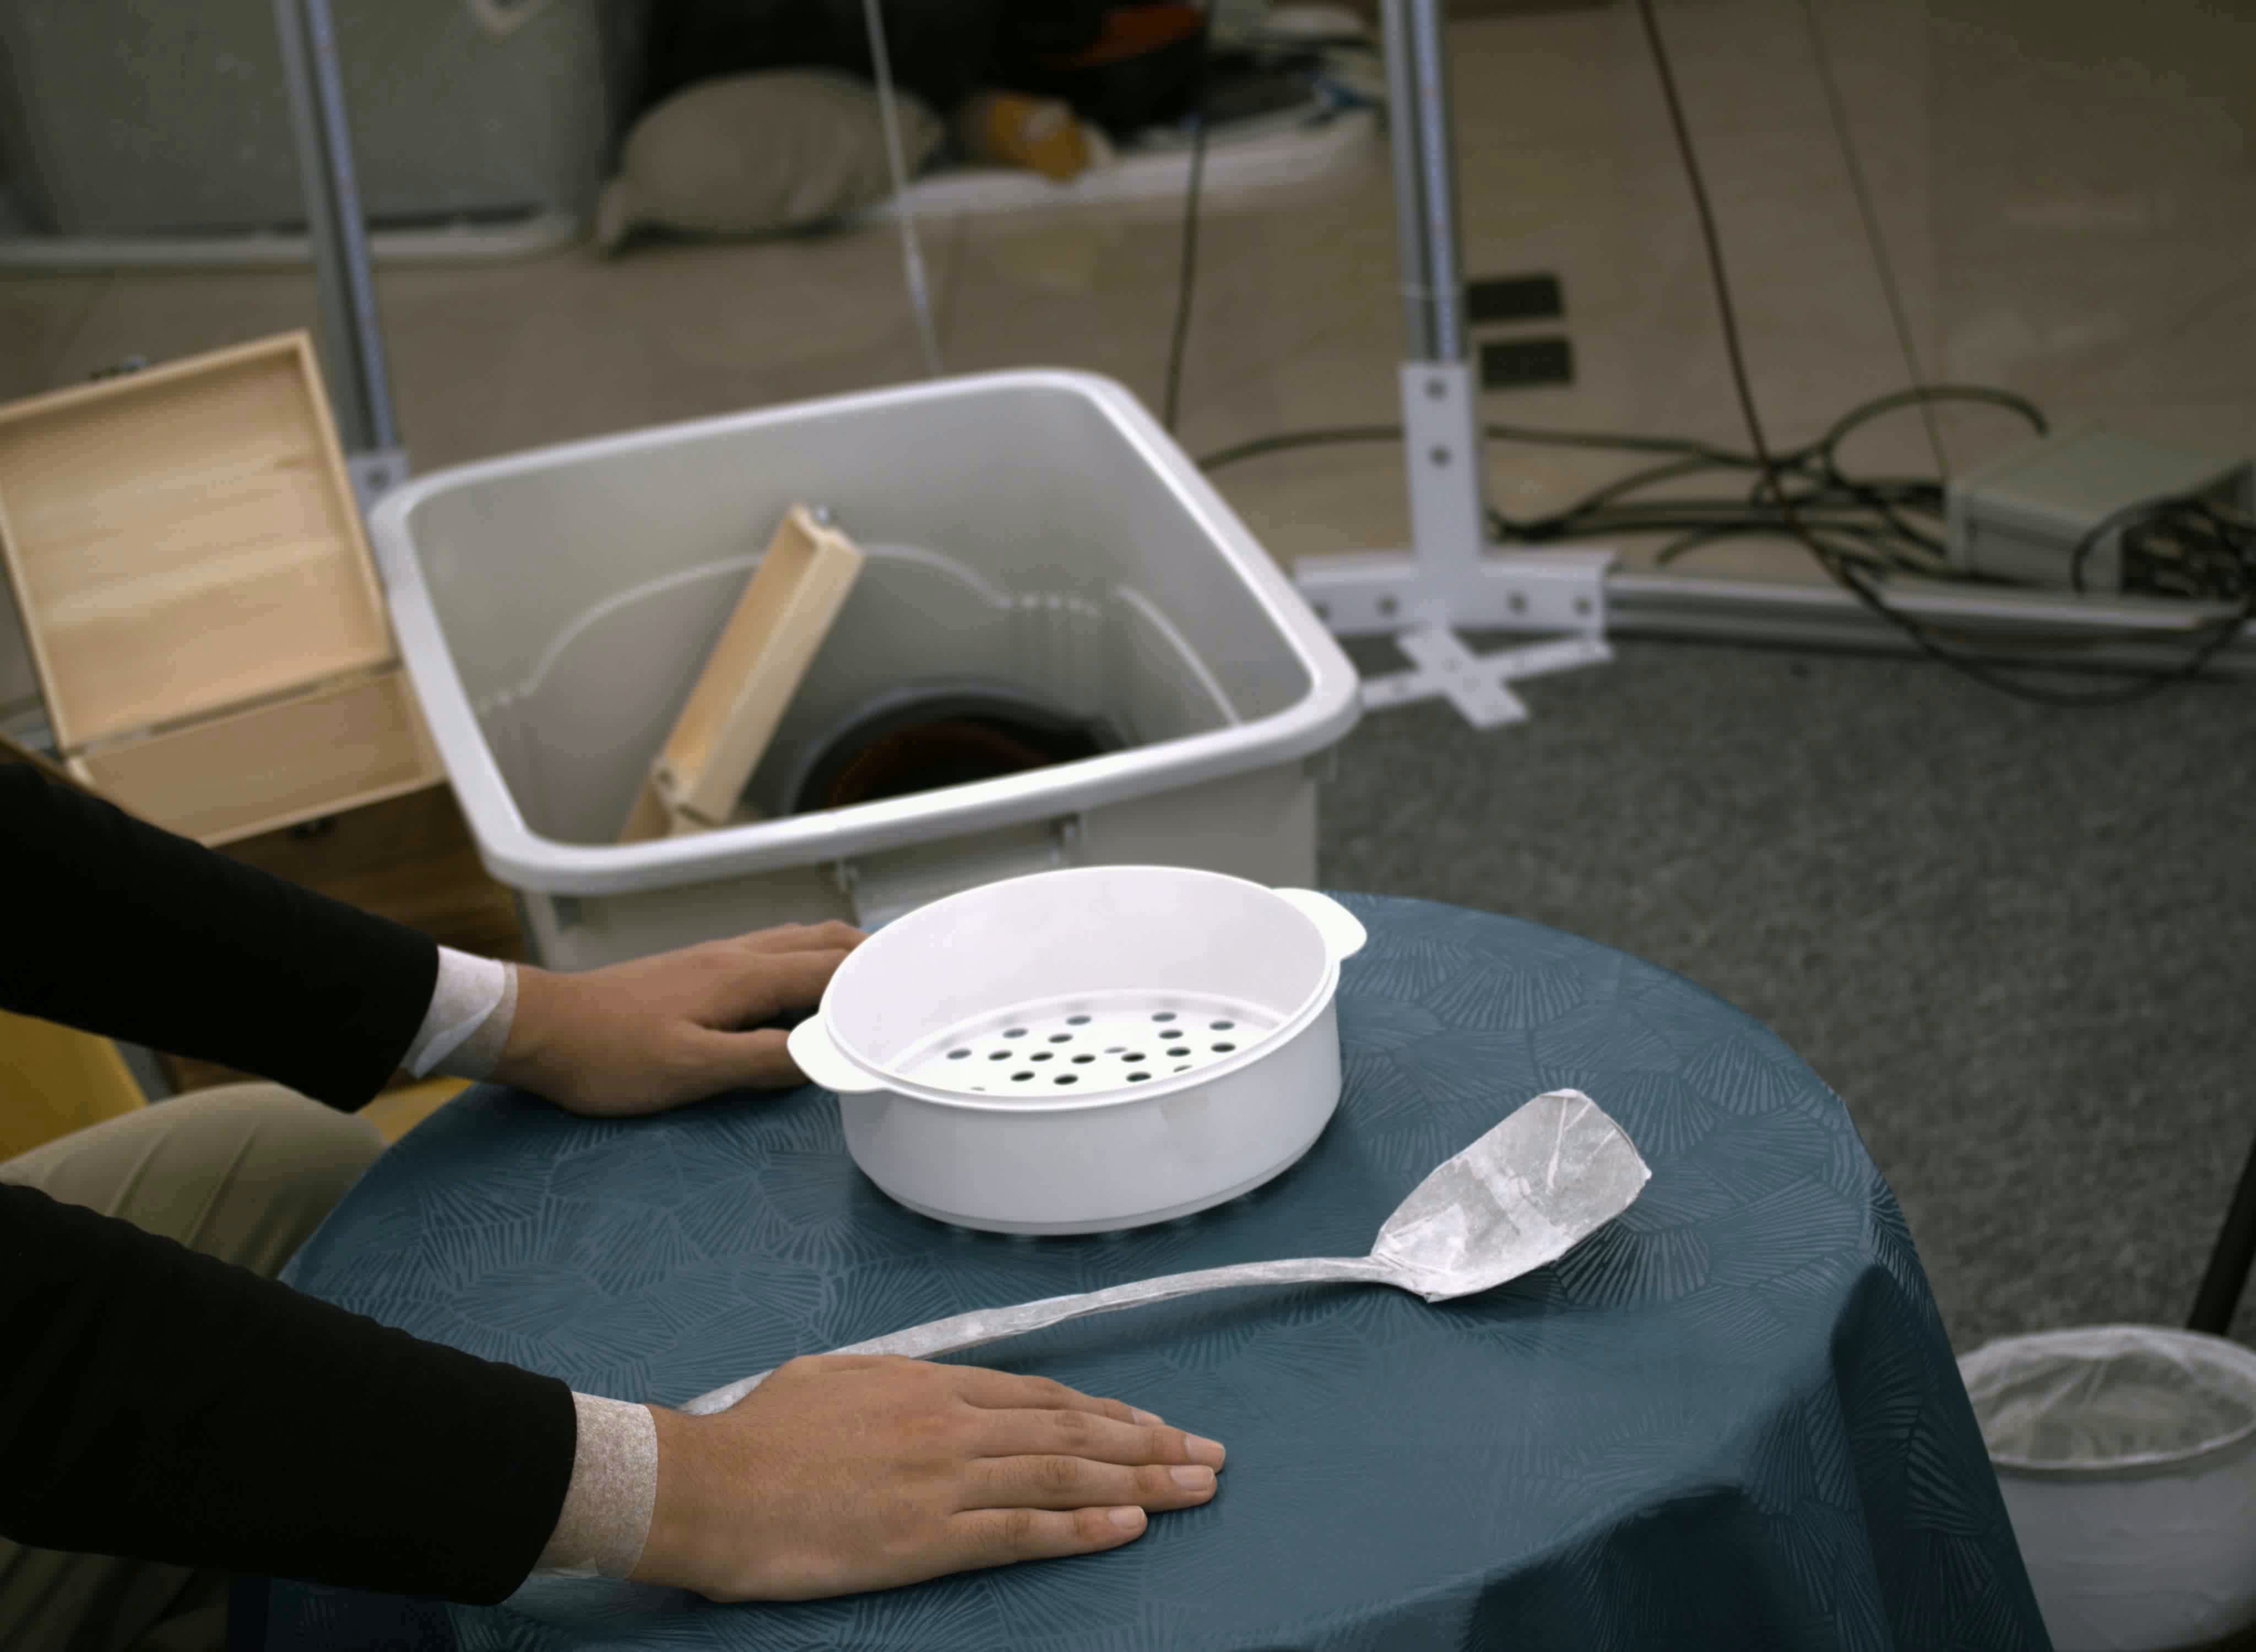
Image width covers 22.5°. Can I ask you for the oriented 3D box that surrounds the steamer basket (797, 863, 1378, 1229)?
[{"bbox_3d":[-0.011,0.085,2.183,0.230,0.070,0.199,-16,26,-17],"label":"steamer basket"}]

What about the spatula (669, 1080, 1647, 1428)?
[{"bbox_3d":[0.011,0.163,2.049,0.364,0.045,0.097,-11,27,-10],"label":"spatula"}]
